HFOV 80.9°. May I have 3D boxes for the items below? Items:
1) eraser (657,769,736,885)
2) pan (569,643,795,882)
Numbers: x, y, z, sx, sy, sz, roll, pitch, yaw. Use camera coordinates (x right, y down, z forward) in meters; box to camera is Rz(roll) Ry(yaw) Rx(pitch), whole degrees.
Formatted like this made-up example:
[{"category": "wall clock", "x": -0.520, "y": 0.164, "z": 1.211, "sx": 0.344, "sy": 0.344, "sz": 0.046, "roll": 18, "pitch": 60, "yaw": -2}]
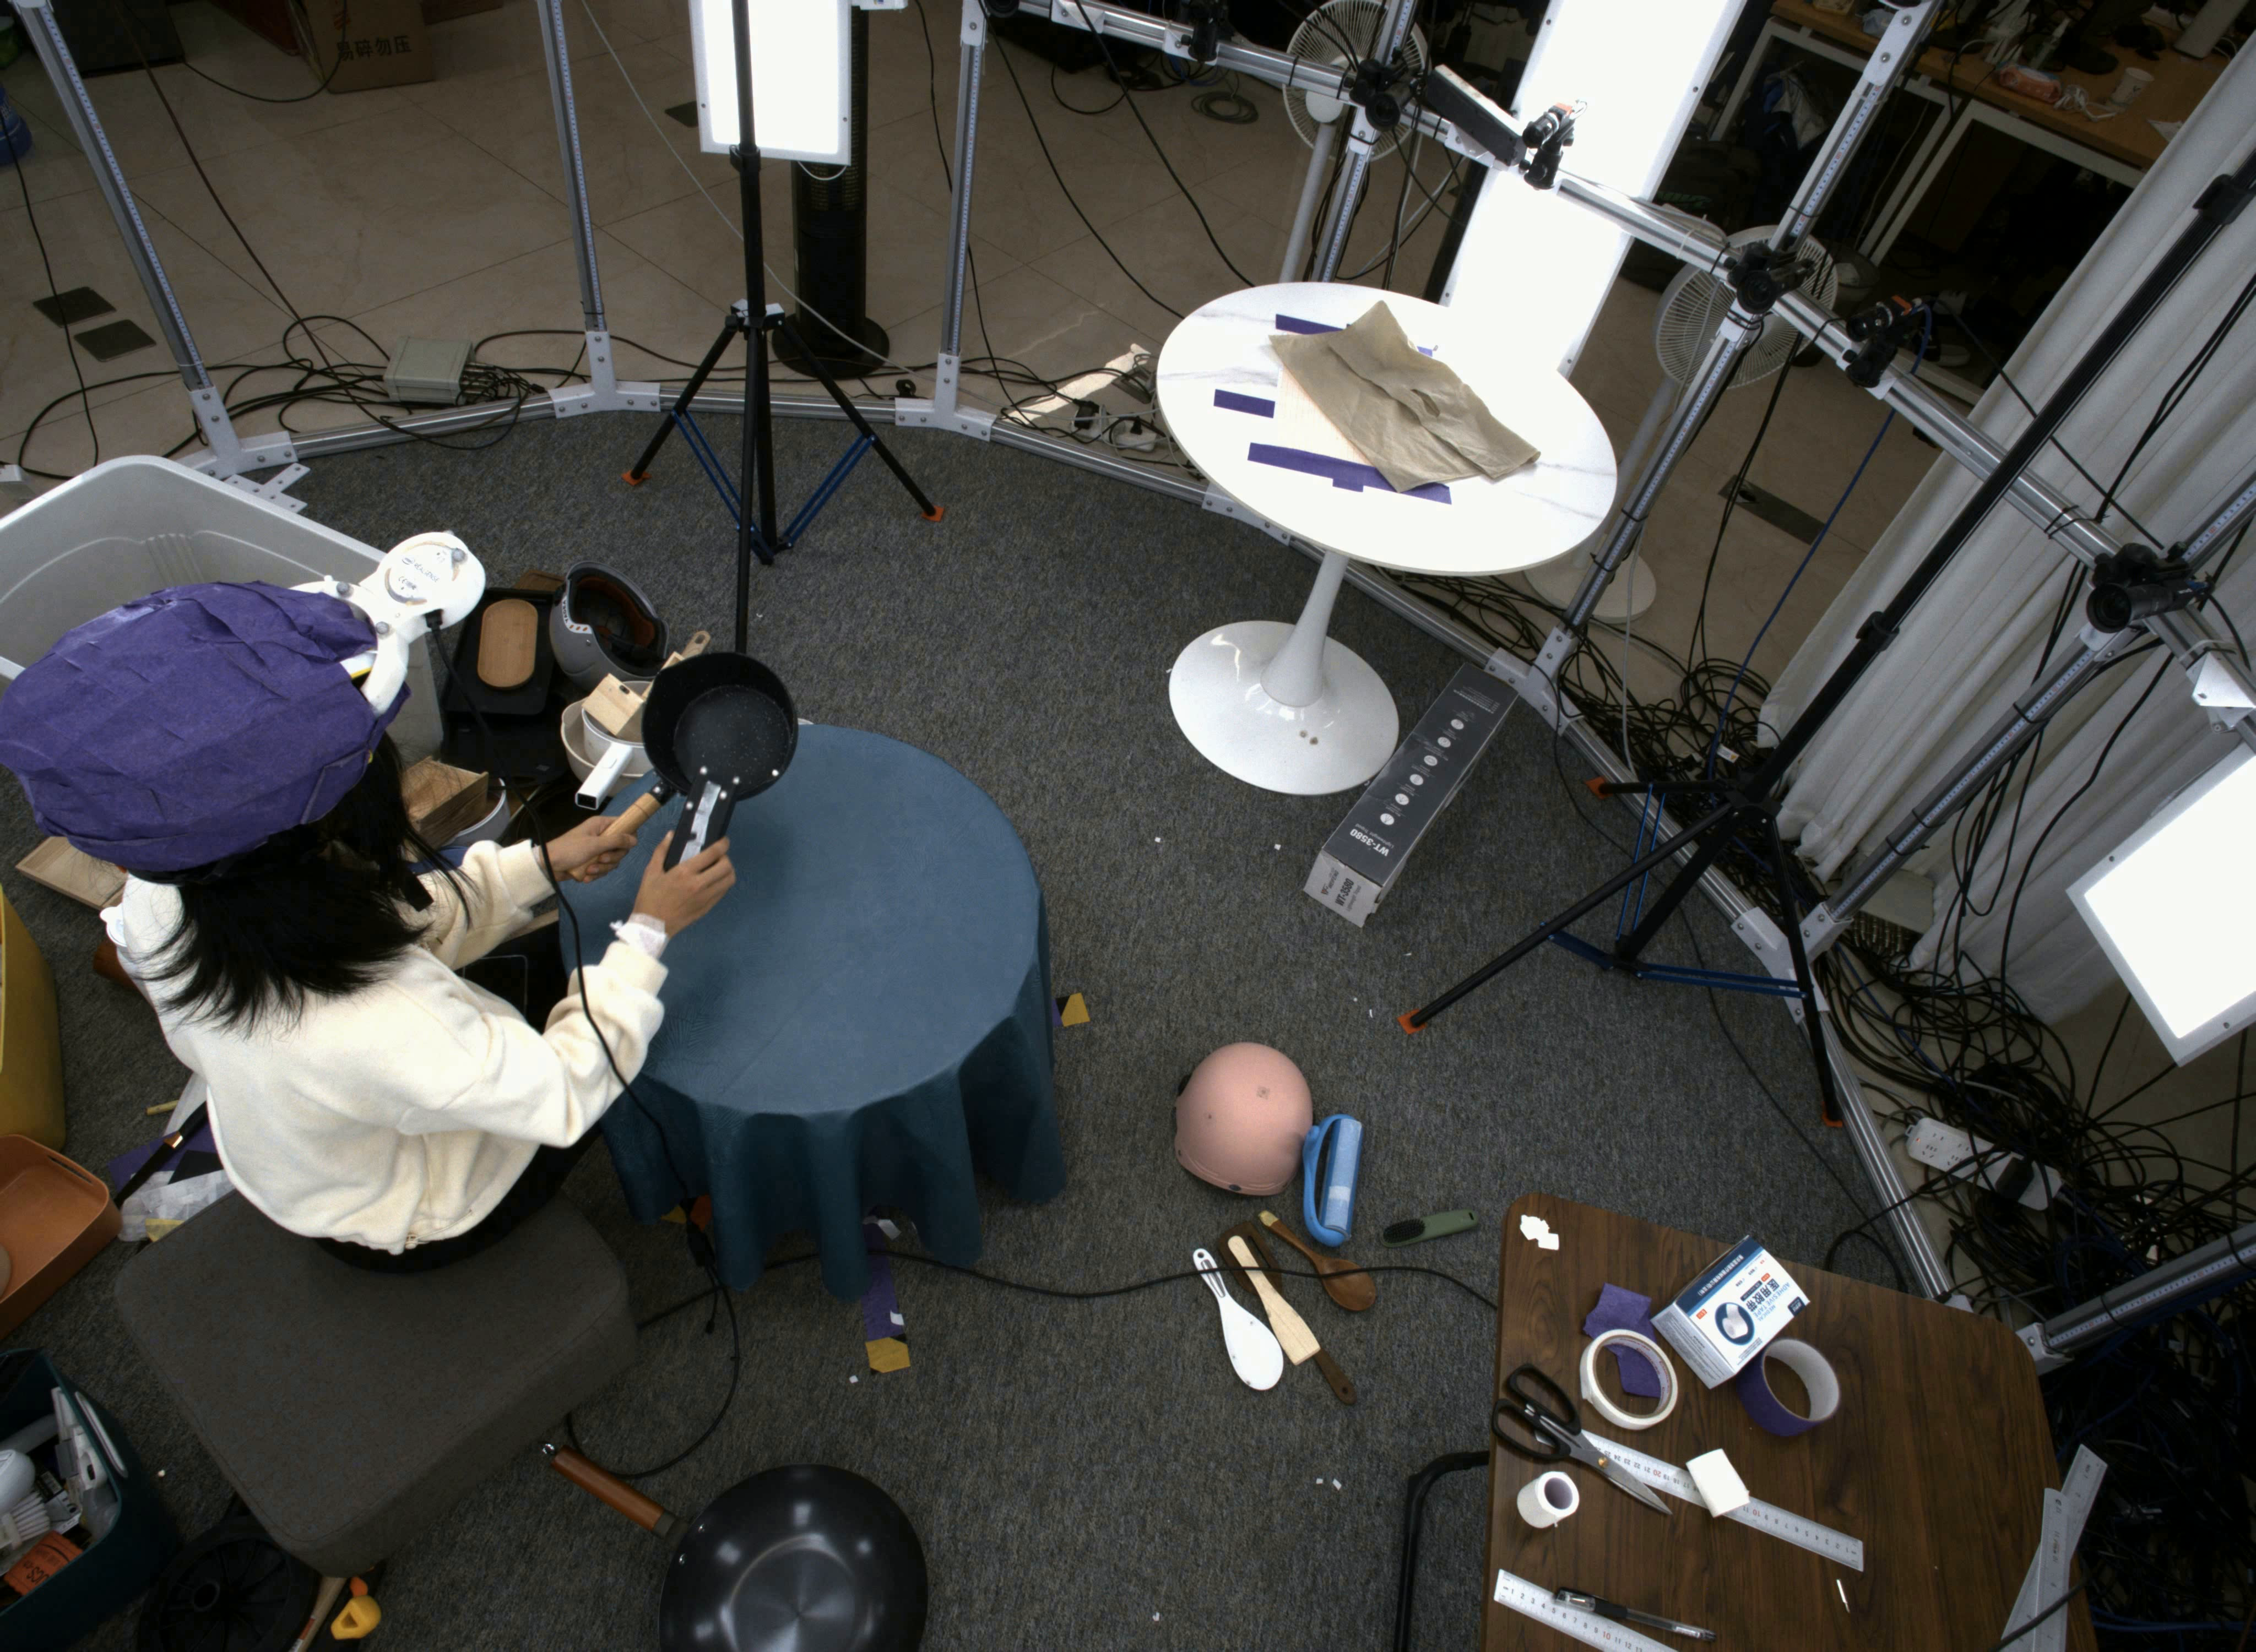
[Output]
[{"category": "eraser", "x": -0.497, "y": 0.000, "z": 1.485, "sx": 0.053, "sy": 0.030, "sz": 0.126, "roll": 17, "pitch": 78, "yaw": -6}, {"category": "pan", "x": -0.545, "y": -0.062, "z": 1.553, "sx": 0.207, "sy": 0.108, "sz": 0.343, "roll": 38, "pitch": 77, "yaw": 0}]
